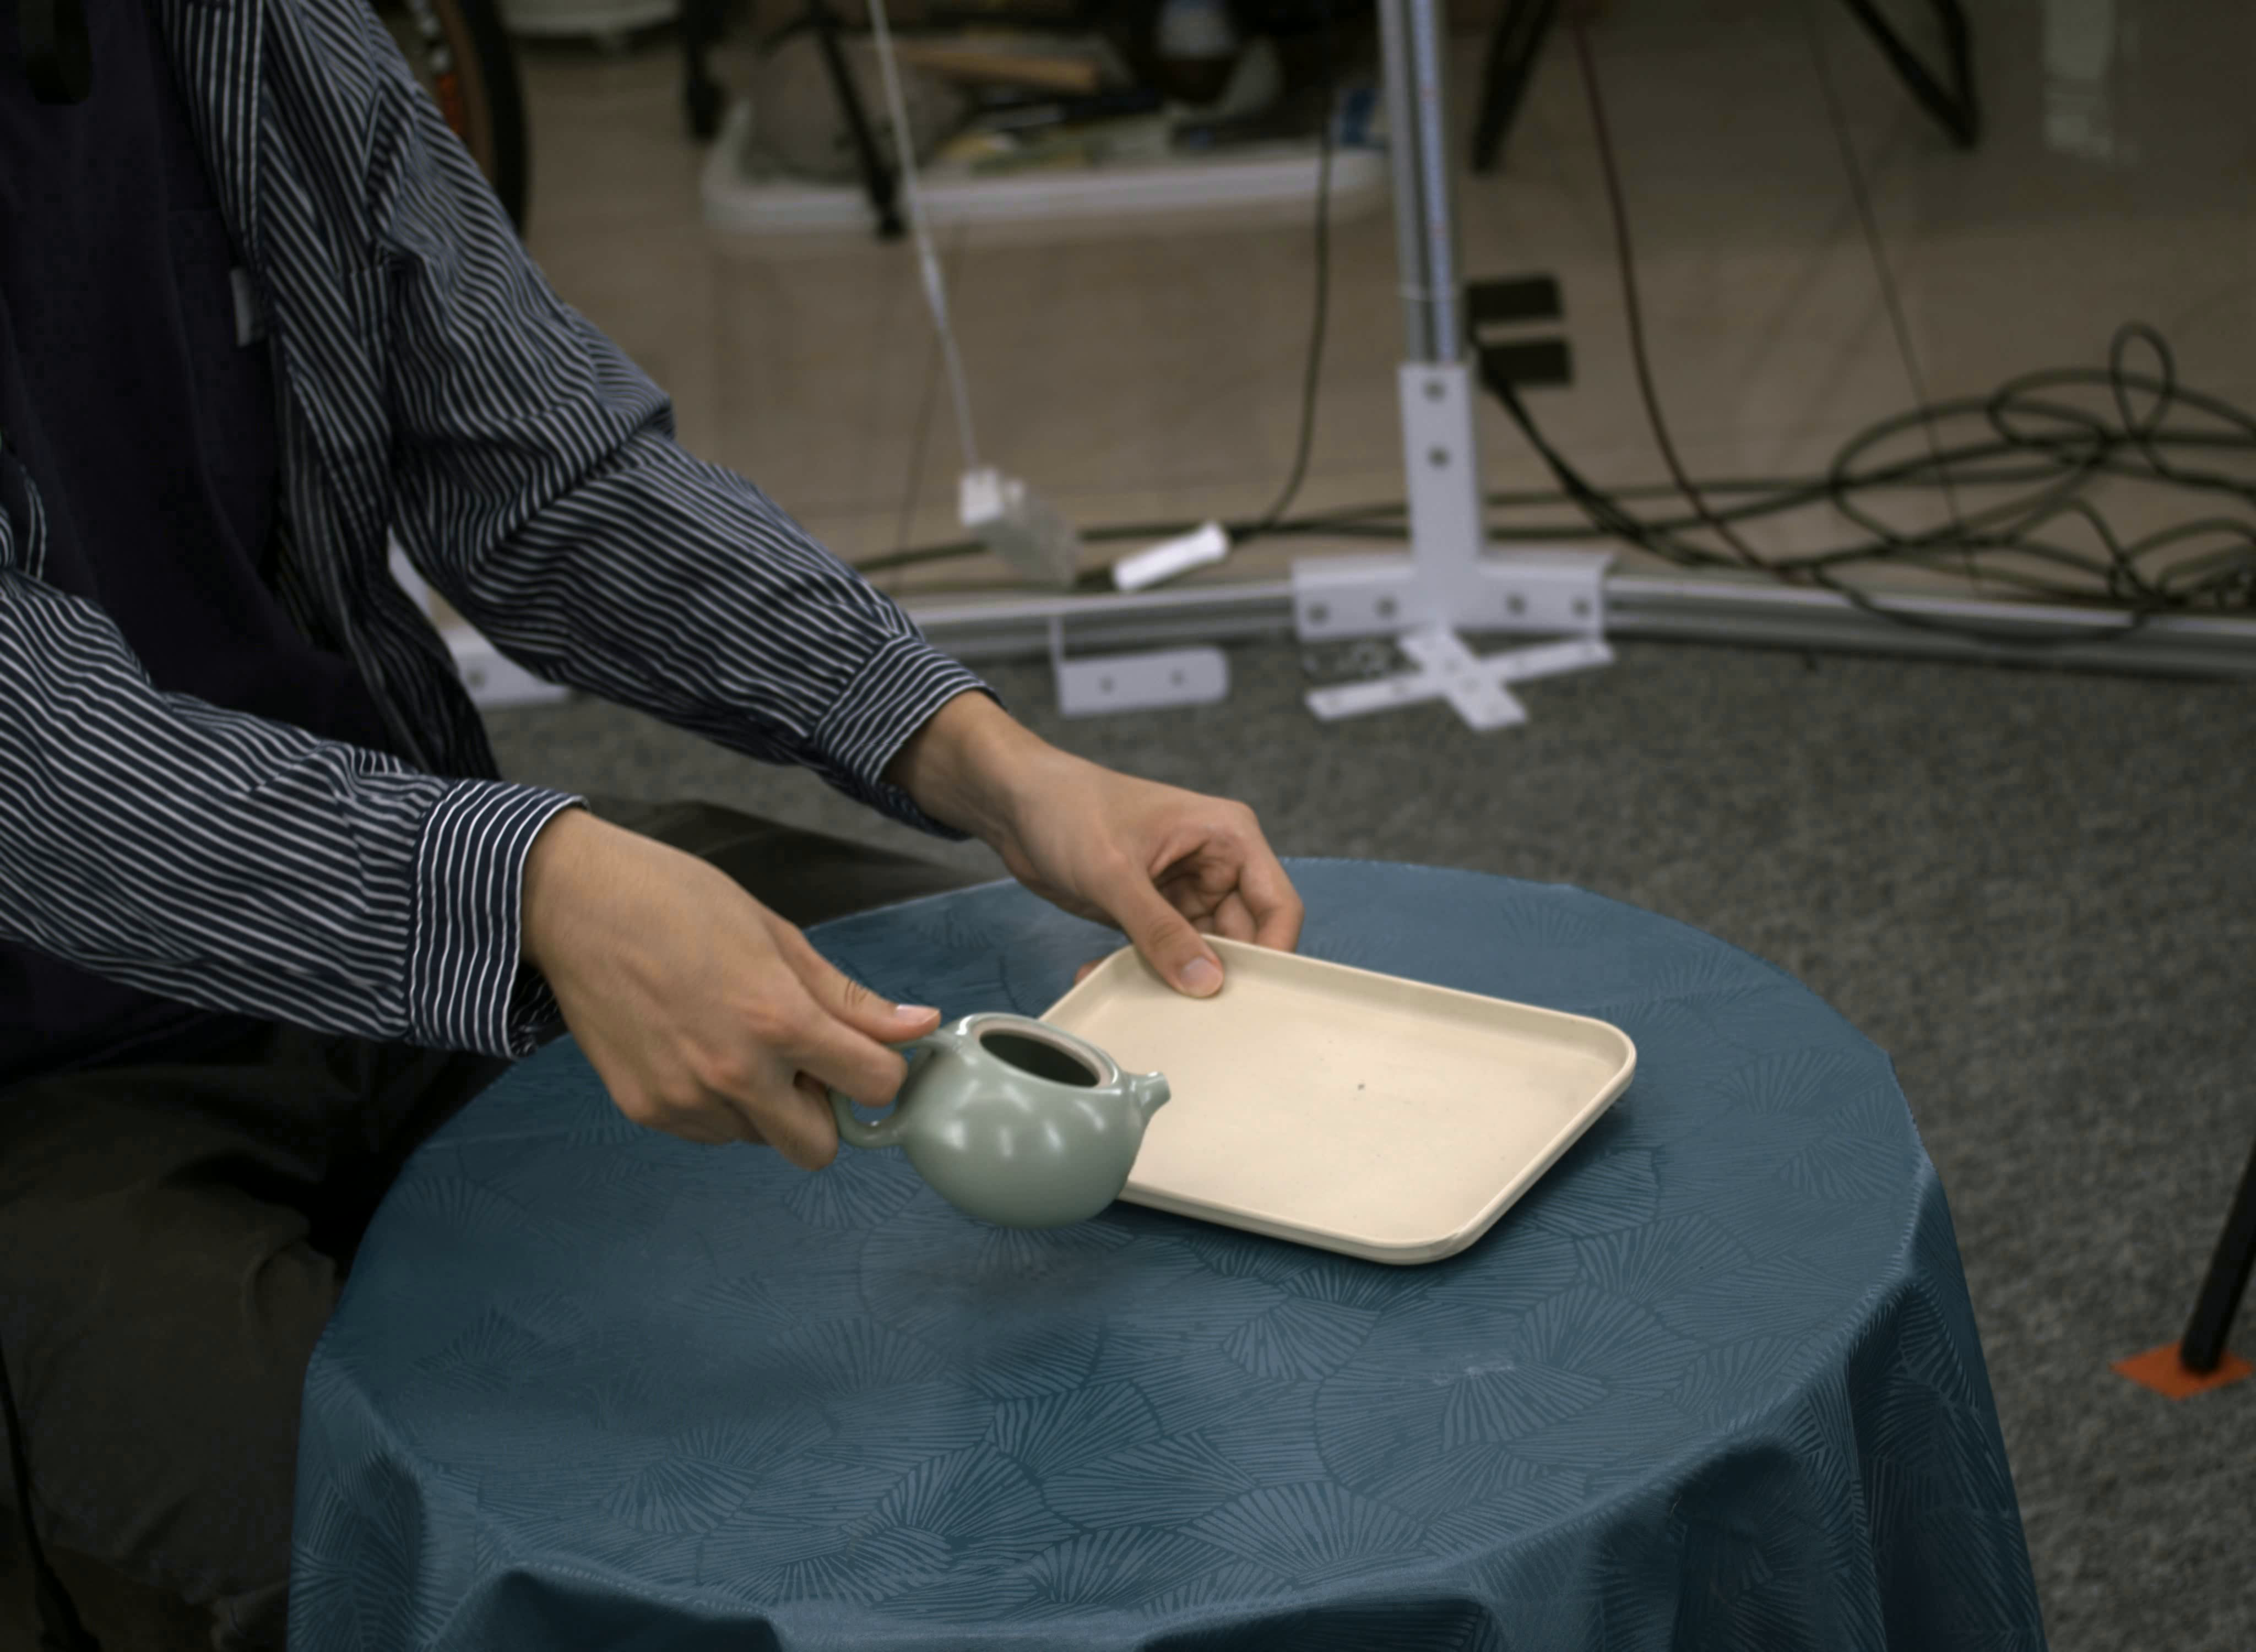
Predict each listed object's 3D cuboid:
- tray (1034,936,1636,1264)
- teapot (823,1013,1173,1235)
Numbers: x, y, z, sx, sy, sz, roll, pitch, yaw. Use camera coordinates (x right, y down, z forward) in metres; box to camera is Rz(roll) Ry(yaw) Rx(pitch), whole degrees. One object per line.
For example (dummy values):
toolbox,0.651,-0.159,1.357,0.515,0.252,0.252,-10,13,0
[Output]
tray,0.062,0.105,2.175,0.238,0.018,0.169,12,34,32
teapot,-0.050,0.108,2.067,0.129,0.062,0.090,14,22,-20
